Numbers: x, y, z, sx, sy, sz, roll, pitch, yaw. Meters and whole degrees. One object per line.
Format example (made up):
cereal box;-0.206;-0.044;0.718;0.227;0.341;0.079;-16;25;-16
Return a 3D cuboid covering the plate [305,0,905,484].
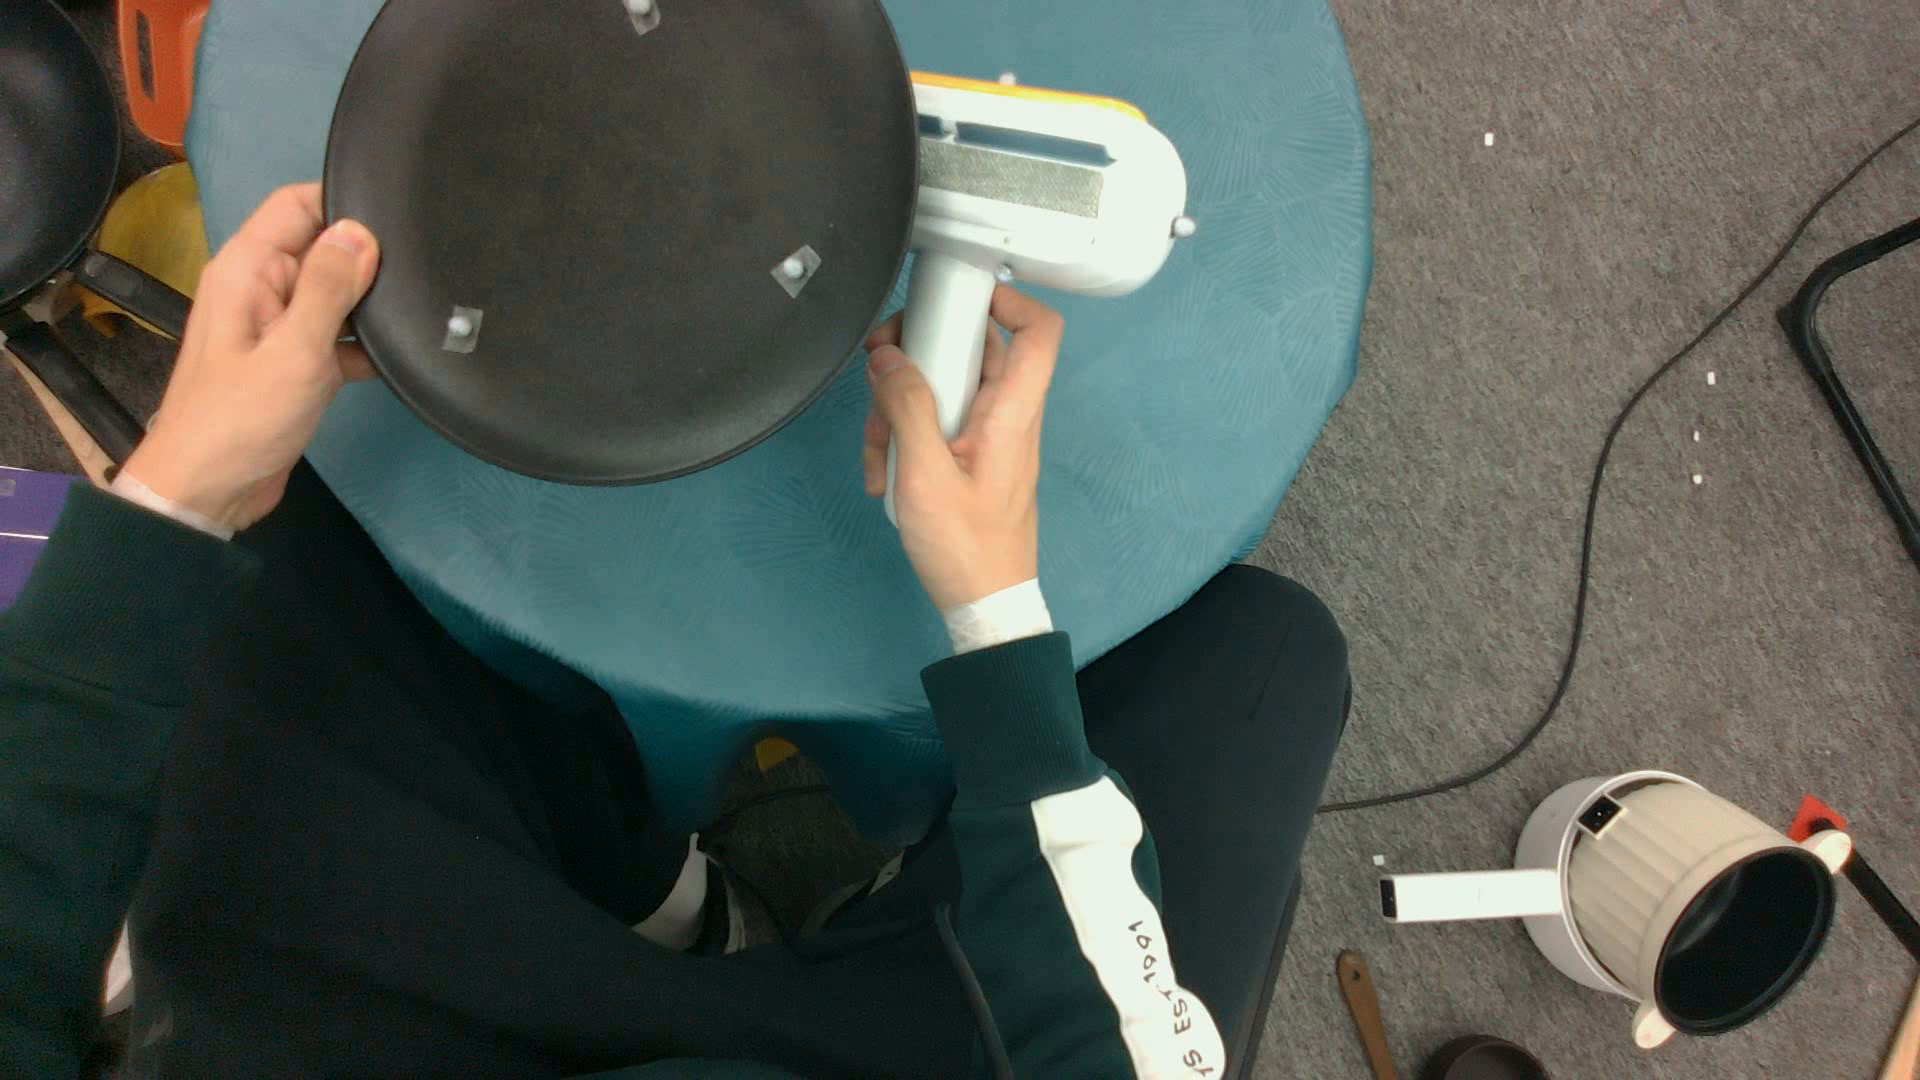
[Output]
plate;-0.139;-0.142;0.539;0.244;0.023;0.244;0;87;9

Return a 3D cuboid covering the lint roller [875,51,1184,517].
lint roller;-0.003;-0.097;0.591;0.074;0.193;0.192;-12;122;-51
